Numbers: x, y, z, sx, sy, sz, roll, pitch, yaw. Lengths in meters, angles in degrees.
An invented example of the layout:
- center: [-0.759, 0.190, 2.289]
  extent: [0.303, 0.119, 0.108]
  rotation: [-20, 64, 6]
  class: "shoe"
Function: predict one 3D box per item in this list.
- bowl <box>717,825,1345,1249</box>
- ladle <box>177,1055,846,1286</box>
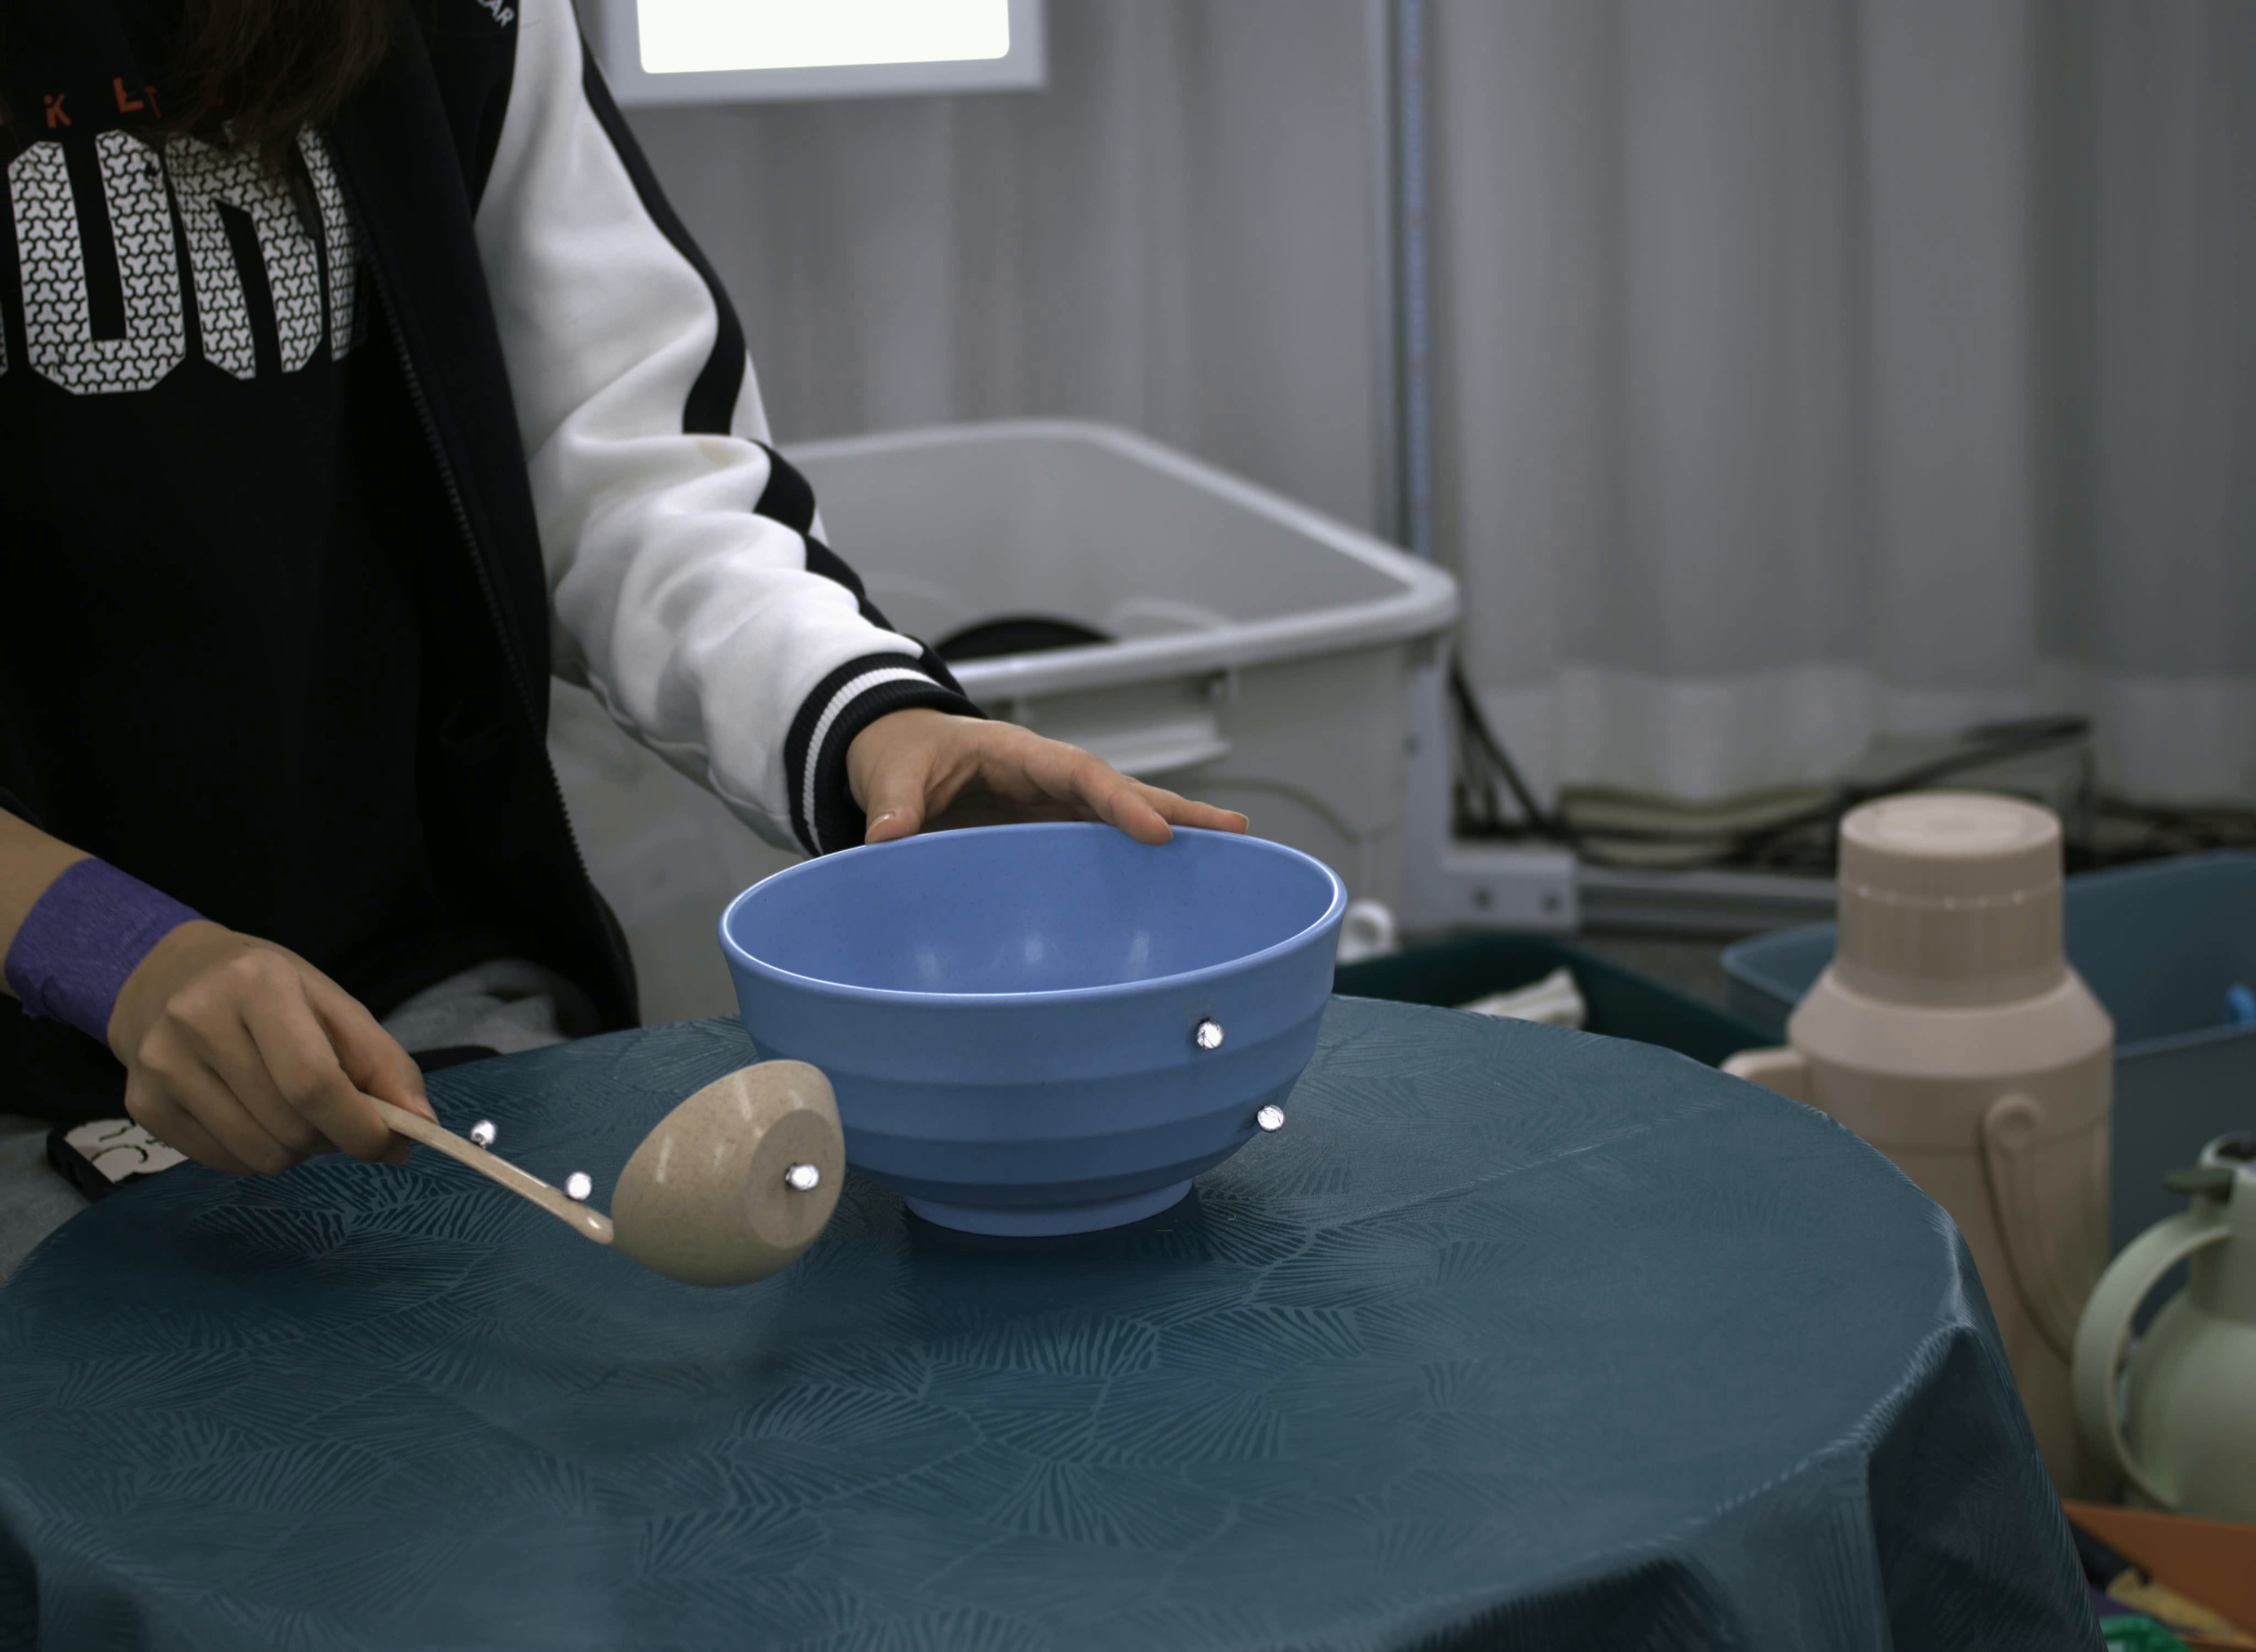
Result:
- center: [-0.027, 0.072, 1.709]
  extent: [0.196, 0.095, 0.198]
  rotation: [-4, 15, 1]
  class: "bowl"
- center: [-0.188, 0.073, 1.626]
  extent: [0.256, 0.073, 0.071]
  rotation: [18, 1, 38]
  class: "ladle"
